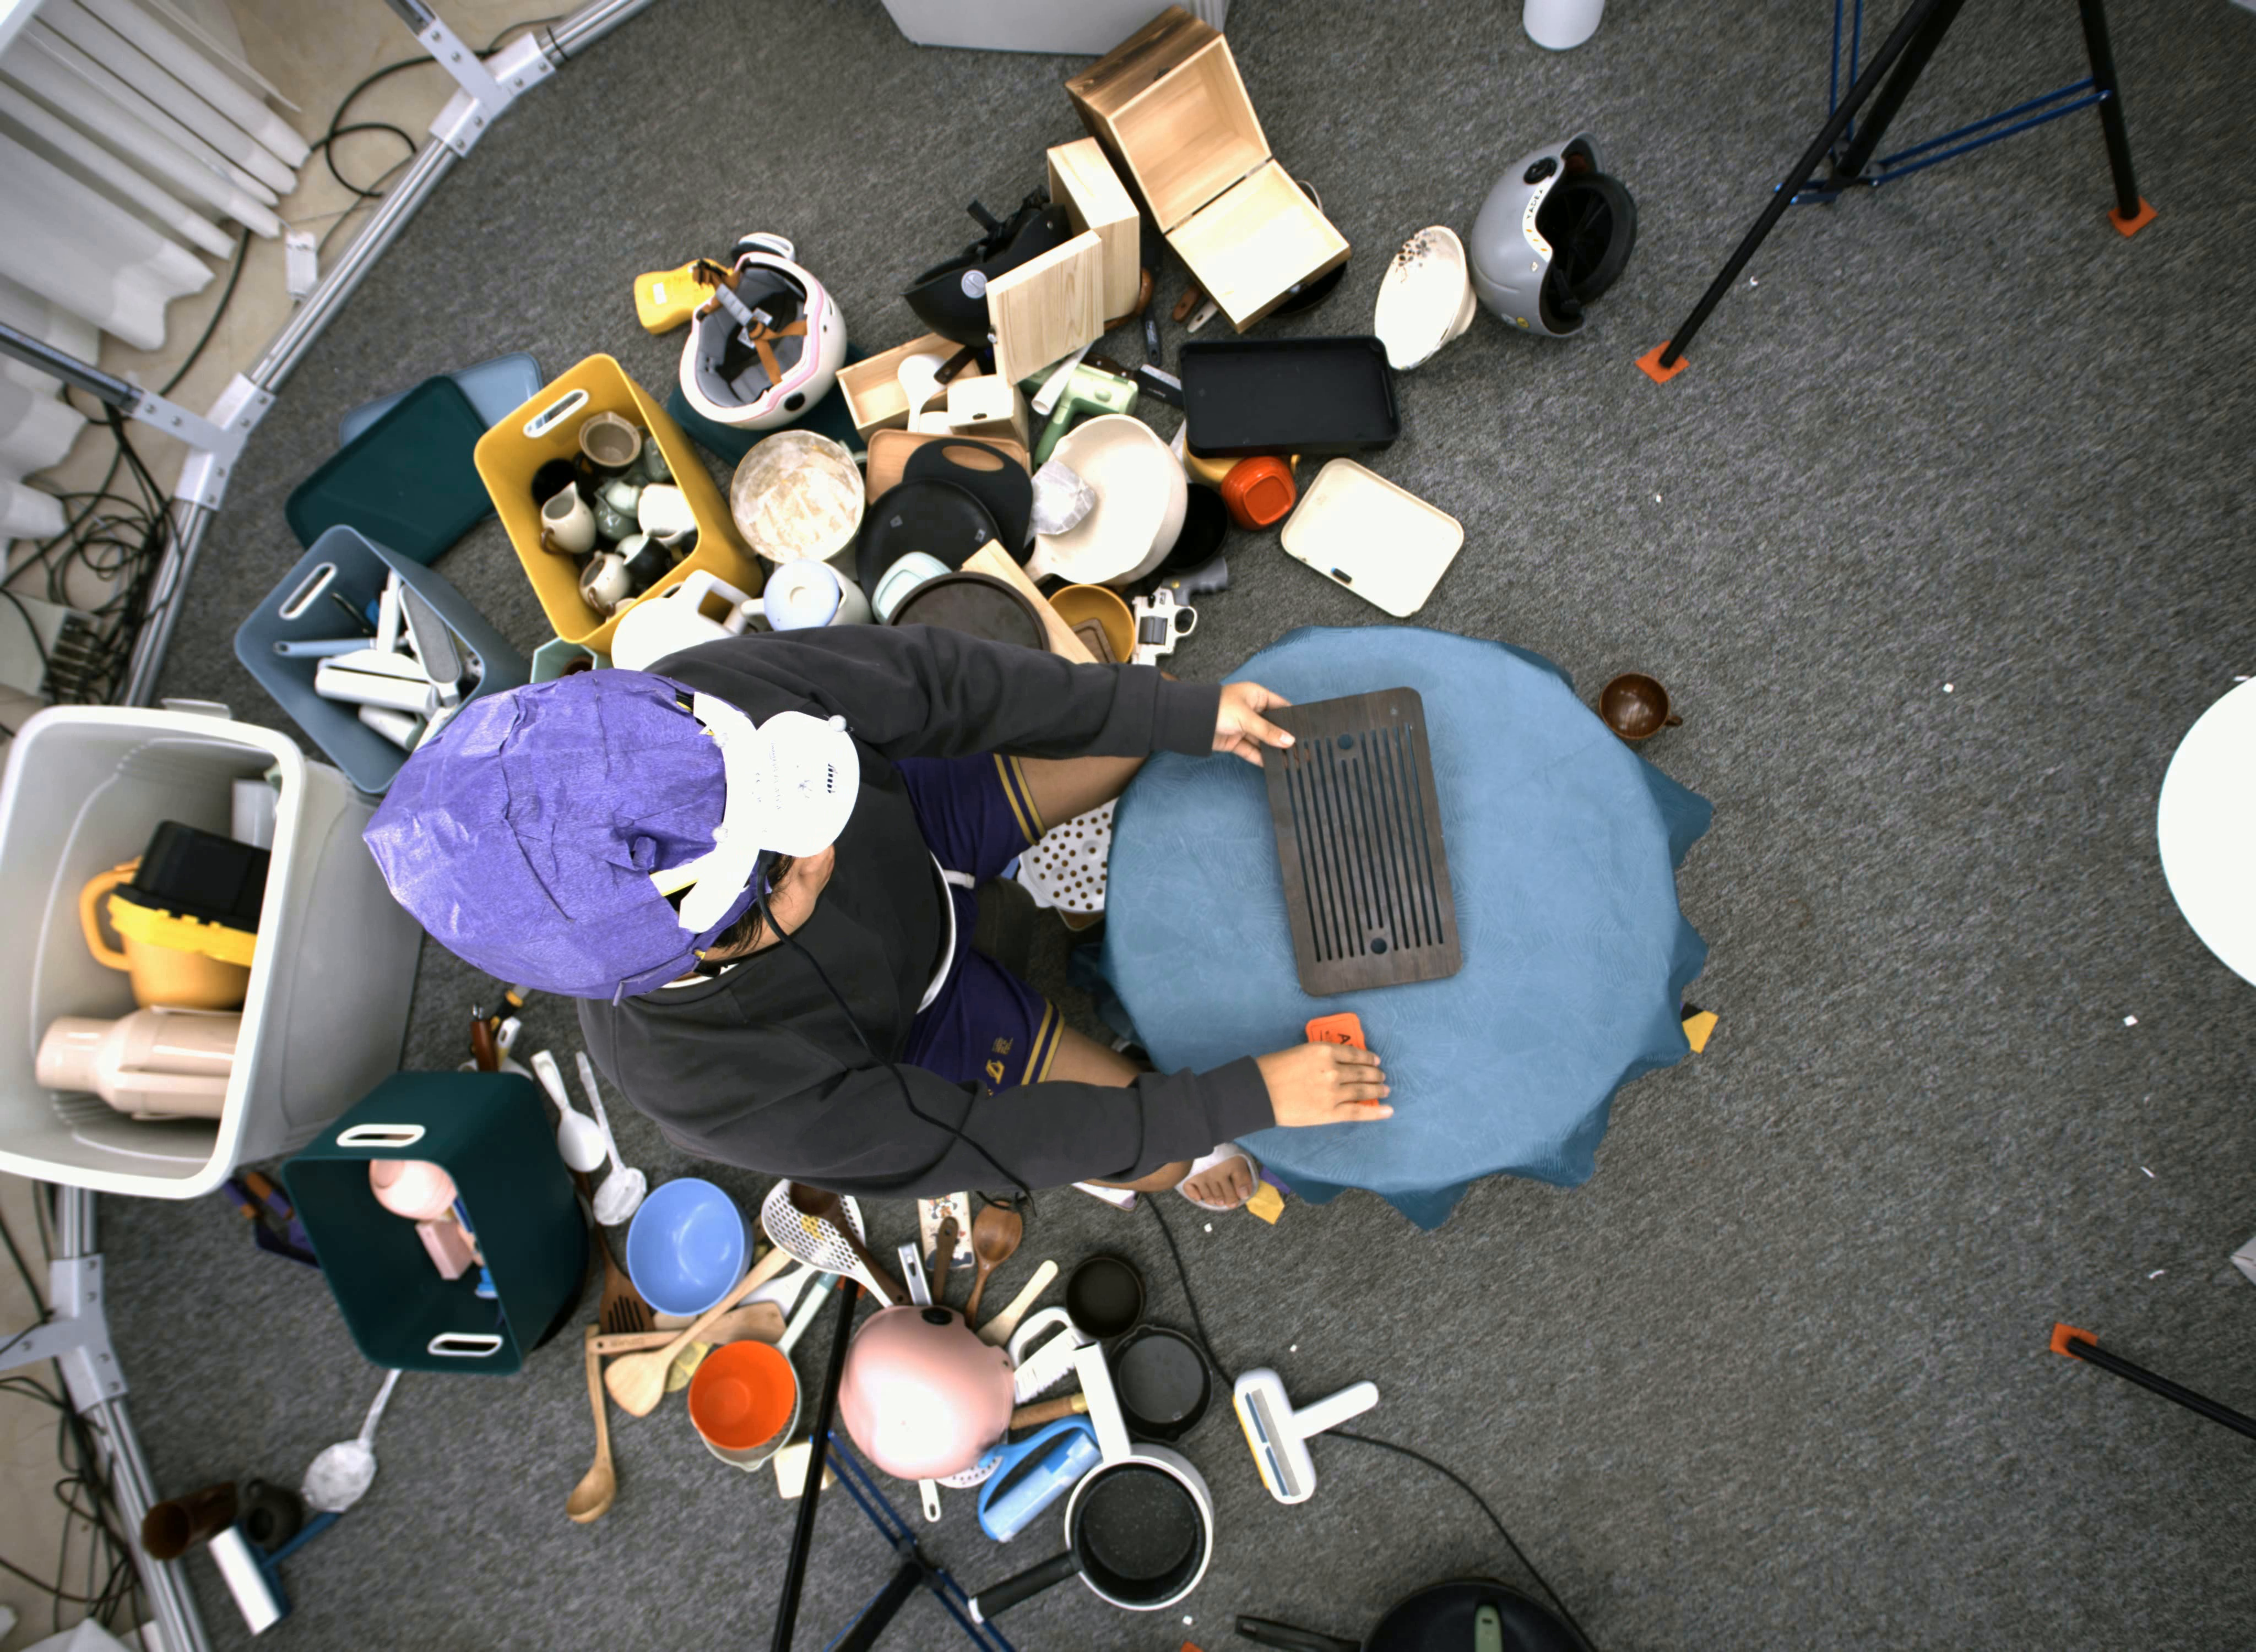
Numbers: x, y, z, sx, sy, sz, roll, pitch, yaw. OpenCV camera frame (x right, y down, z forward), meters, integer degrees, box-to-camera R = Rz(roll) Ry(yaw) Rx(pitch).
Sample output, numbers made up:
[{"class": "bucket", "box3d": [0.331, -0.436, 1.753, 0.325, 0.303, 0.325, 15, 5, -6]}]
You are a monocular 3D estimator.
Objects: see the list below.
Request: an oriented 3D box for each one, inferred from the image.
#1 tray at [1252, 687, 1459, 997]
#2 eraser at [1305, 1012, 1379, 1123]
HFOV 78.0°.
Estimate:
[{"class": "tray", "box3d": [0.236, 0.017, 1.426, 0.171, 0.018, 0.308, -9, 99, 8]}, {"class": "eraser", "box3d": [0.223, 0.250, 1.443, 0.059, 0.023, 0.107, -14, 86, 10]}]
